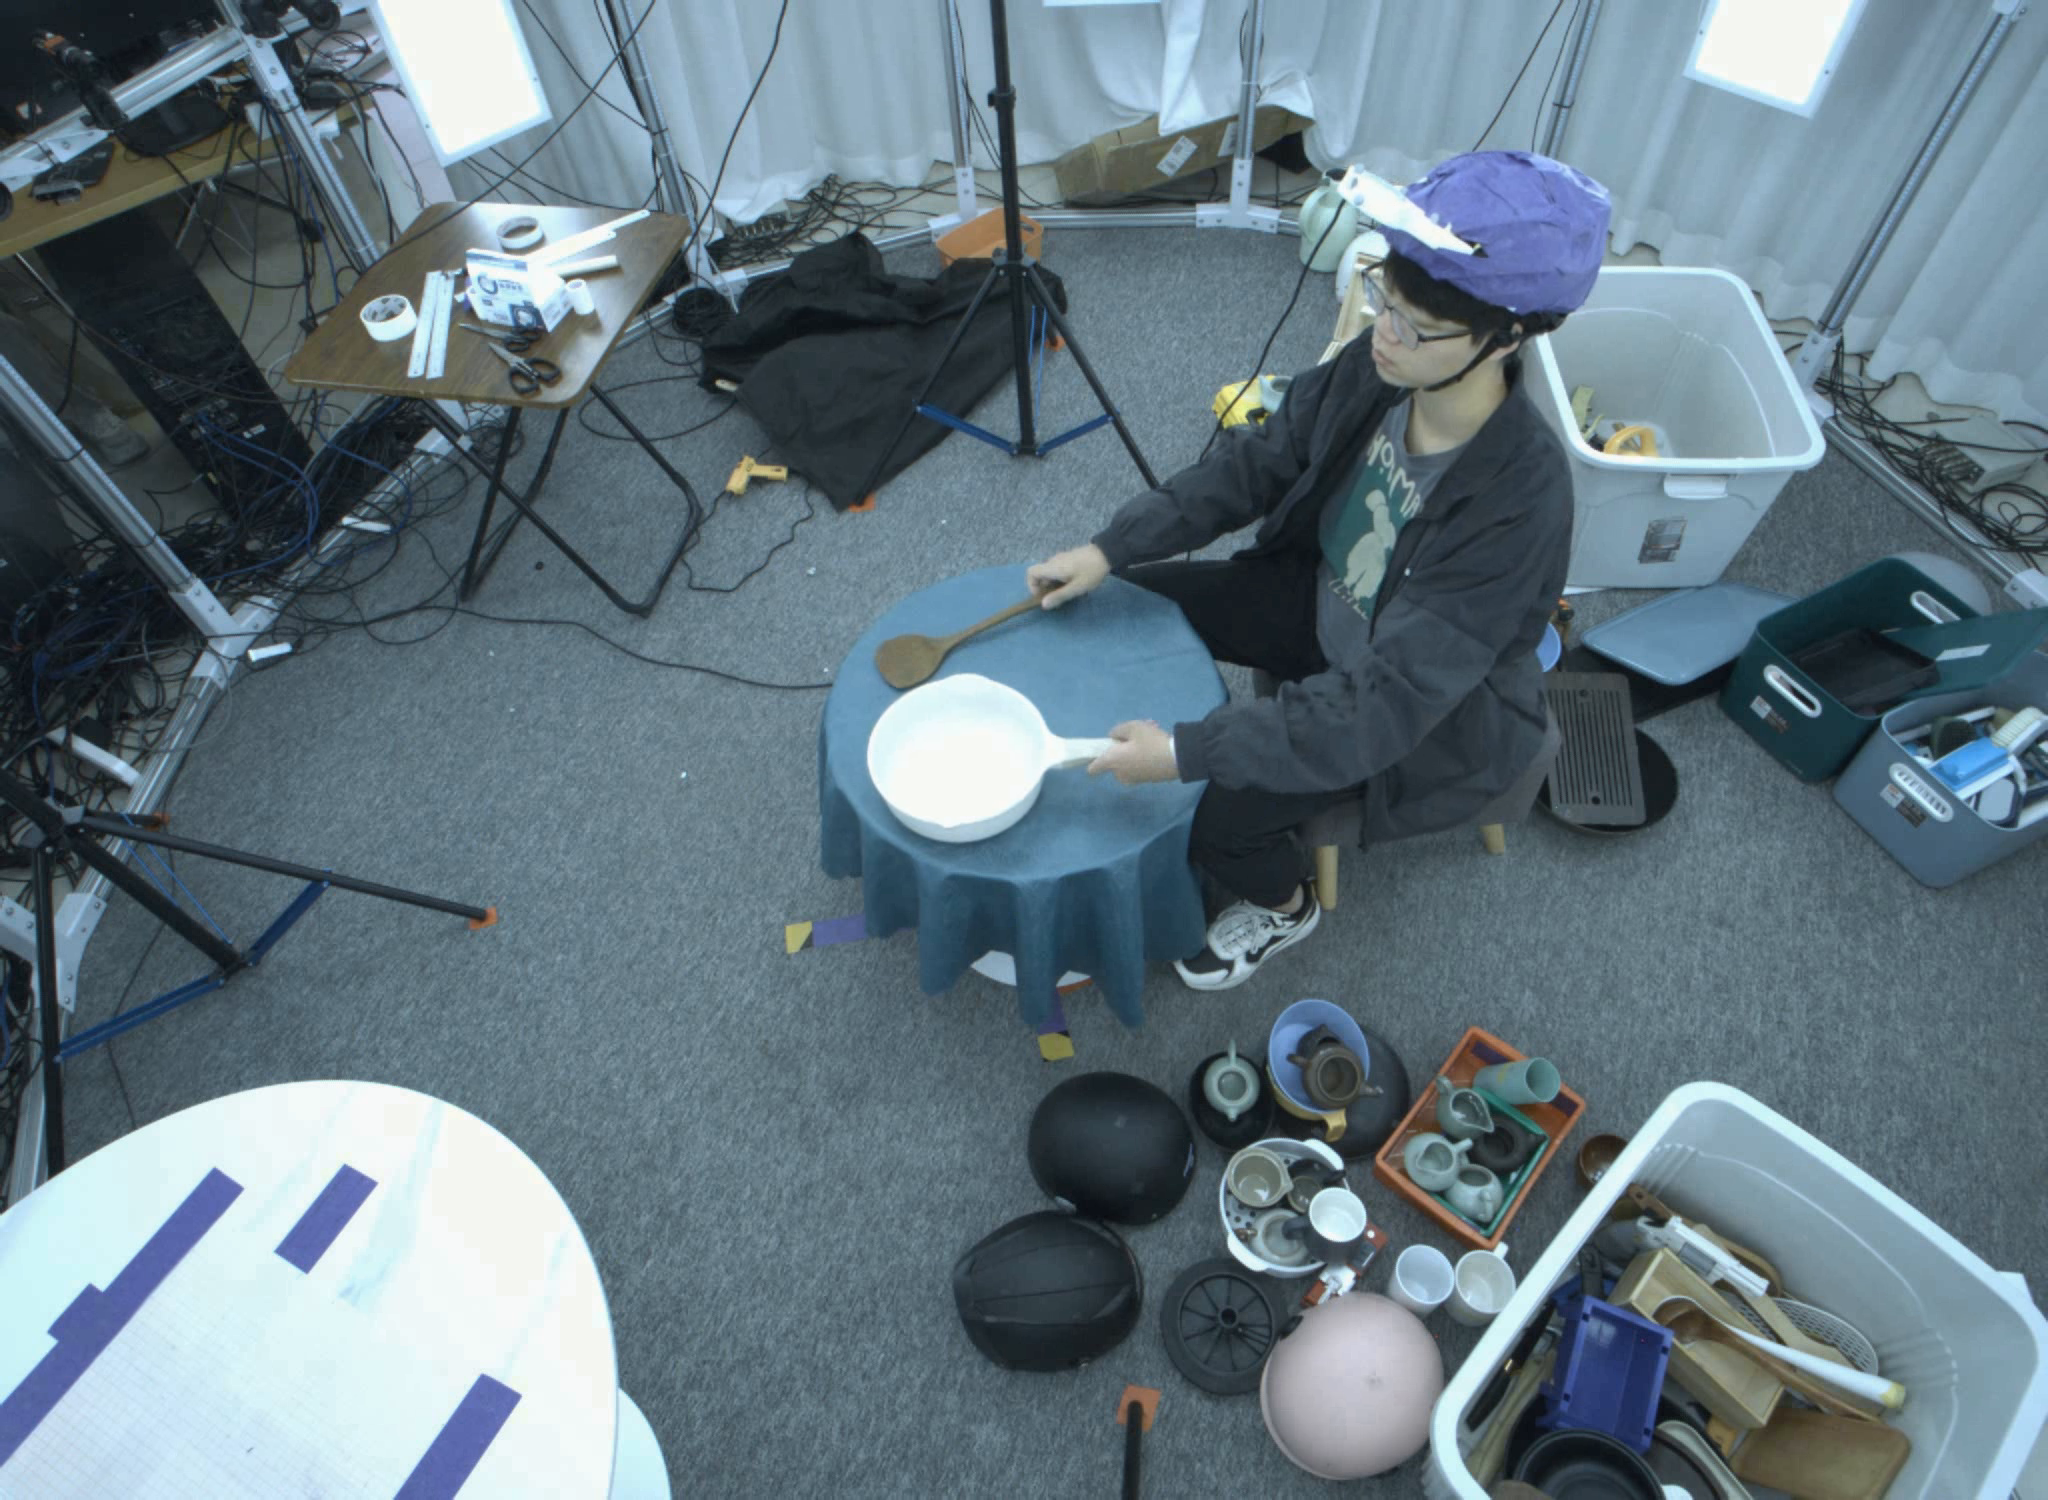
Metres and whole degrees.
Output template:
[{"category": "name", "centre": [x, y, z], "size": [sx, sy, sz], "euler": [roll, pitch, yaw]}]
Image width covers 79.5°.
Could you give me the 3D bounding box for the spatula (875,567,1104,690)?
[{"category": "spatula", "centre": [-0.048, -0.201, 1.900], "size": [0.388, 0.016, 0.094], "euler": [-26, 62, -10]}]

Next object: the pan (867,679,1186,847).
[{"category": "pan", "centre": [0.004, 0.022, 1.700], "size": [0.434, 0.103, 0.261], "euler": [1, 53, 4]}]
